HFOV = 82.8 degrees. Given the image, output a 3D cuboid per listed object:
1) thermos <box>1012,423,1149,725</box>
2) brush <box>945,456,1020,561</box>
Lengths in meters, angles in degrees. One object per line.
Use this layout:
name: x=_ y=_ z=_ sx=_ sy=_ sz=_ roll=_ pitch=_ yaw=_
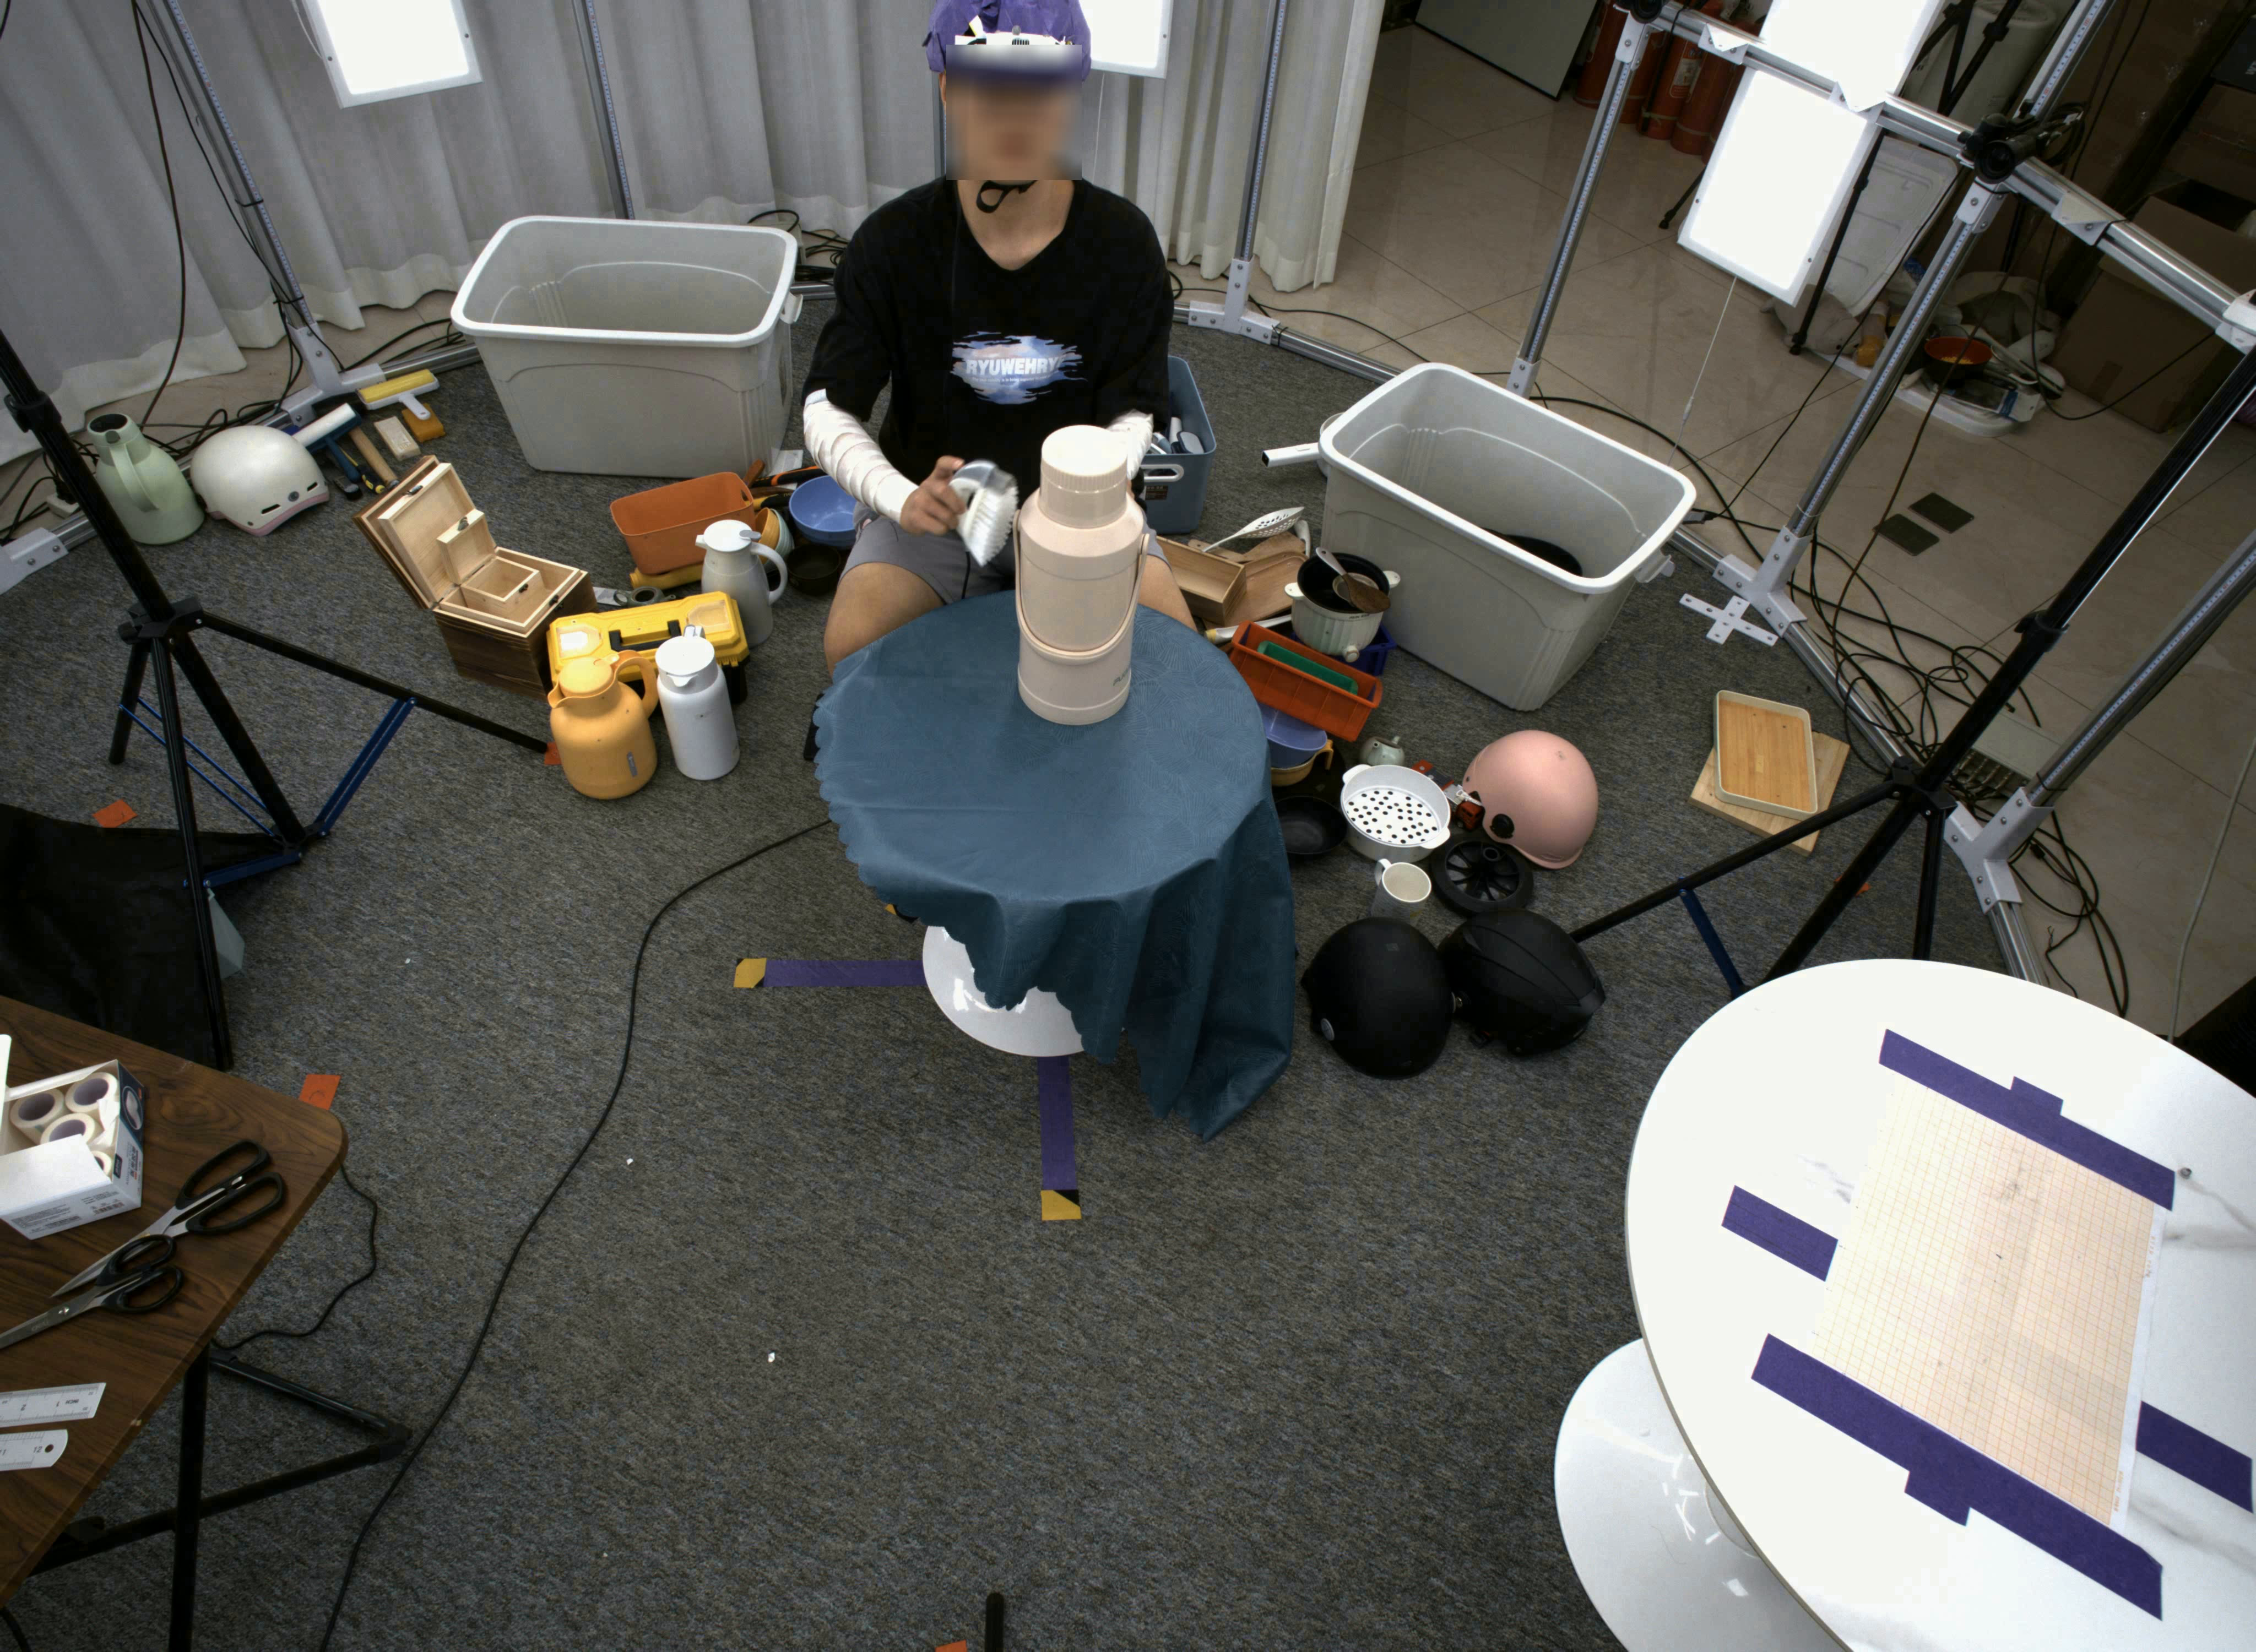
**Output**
thermos: x=-0.060 y=-0.336 z=1.704 sx=0.175 sy=0.396 sz=0.212 roll=11 pitch=50 yaw=6
brush: x=-0.189 y=-0.424 z=1.662 sx=0.094 sy=0.173 sz=0.062 roll=38 pitch=65 yaw=1
